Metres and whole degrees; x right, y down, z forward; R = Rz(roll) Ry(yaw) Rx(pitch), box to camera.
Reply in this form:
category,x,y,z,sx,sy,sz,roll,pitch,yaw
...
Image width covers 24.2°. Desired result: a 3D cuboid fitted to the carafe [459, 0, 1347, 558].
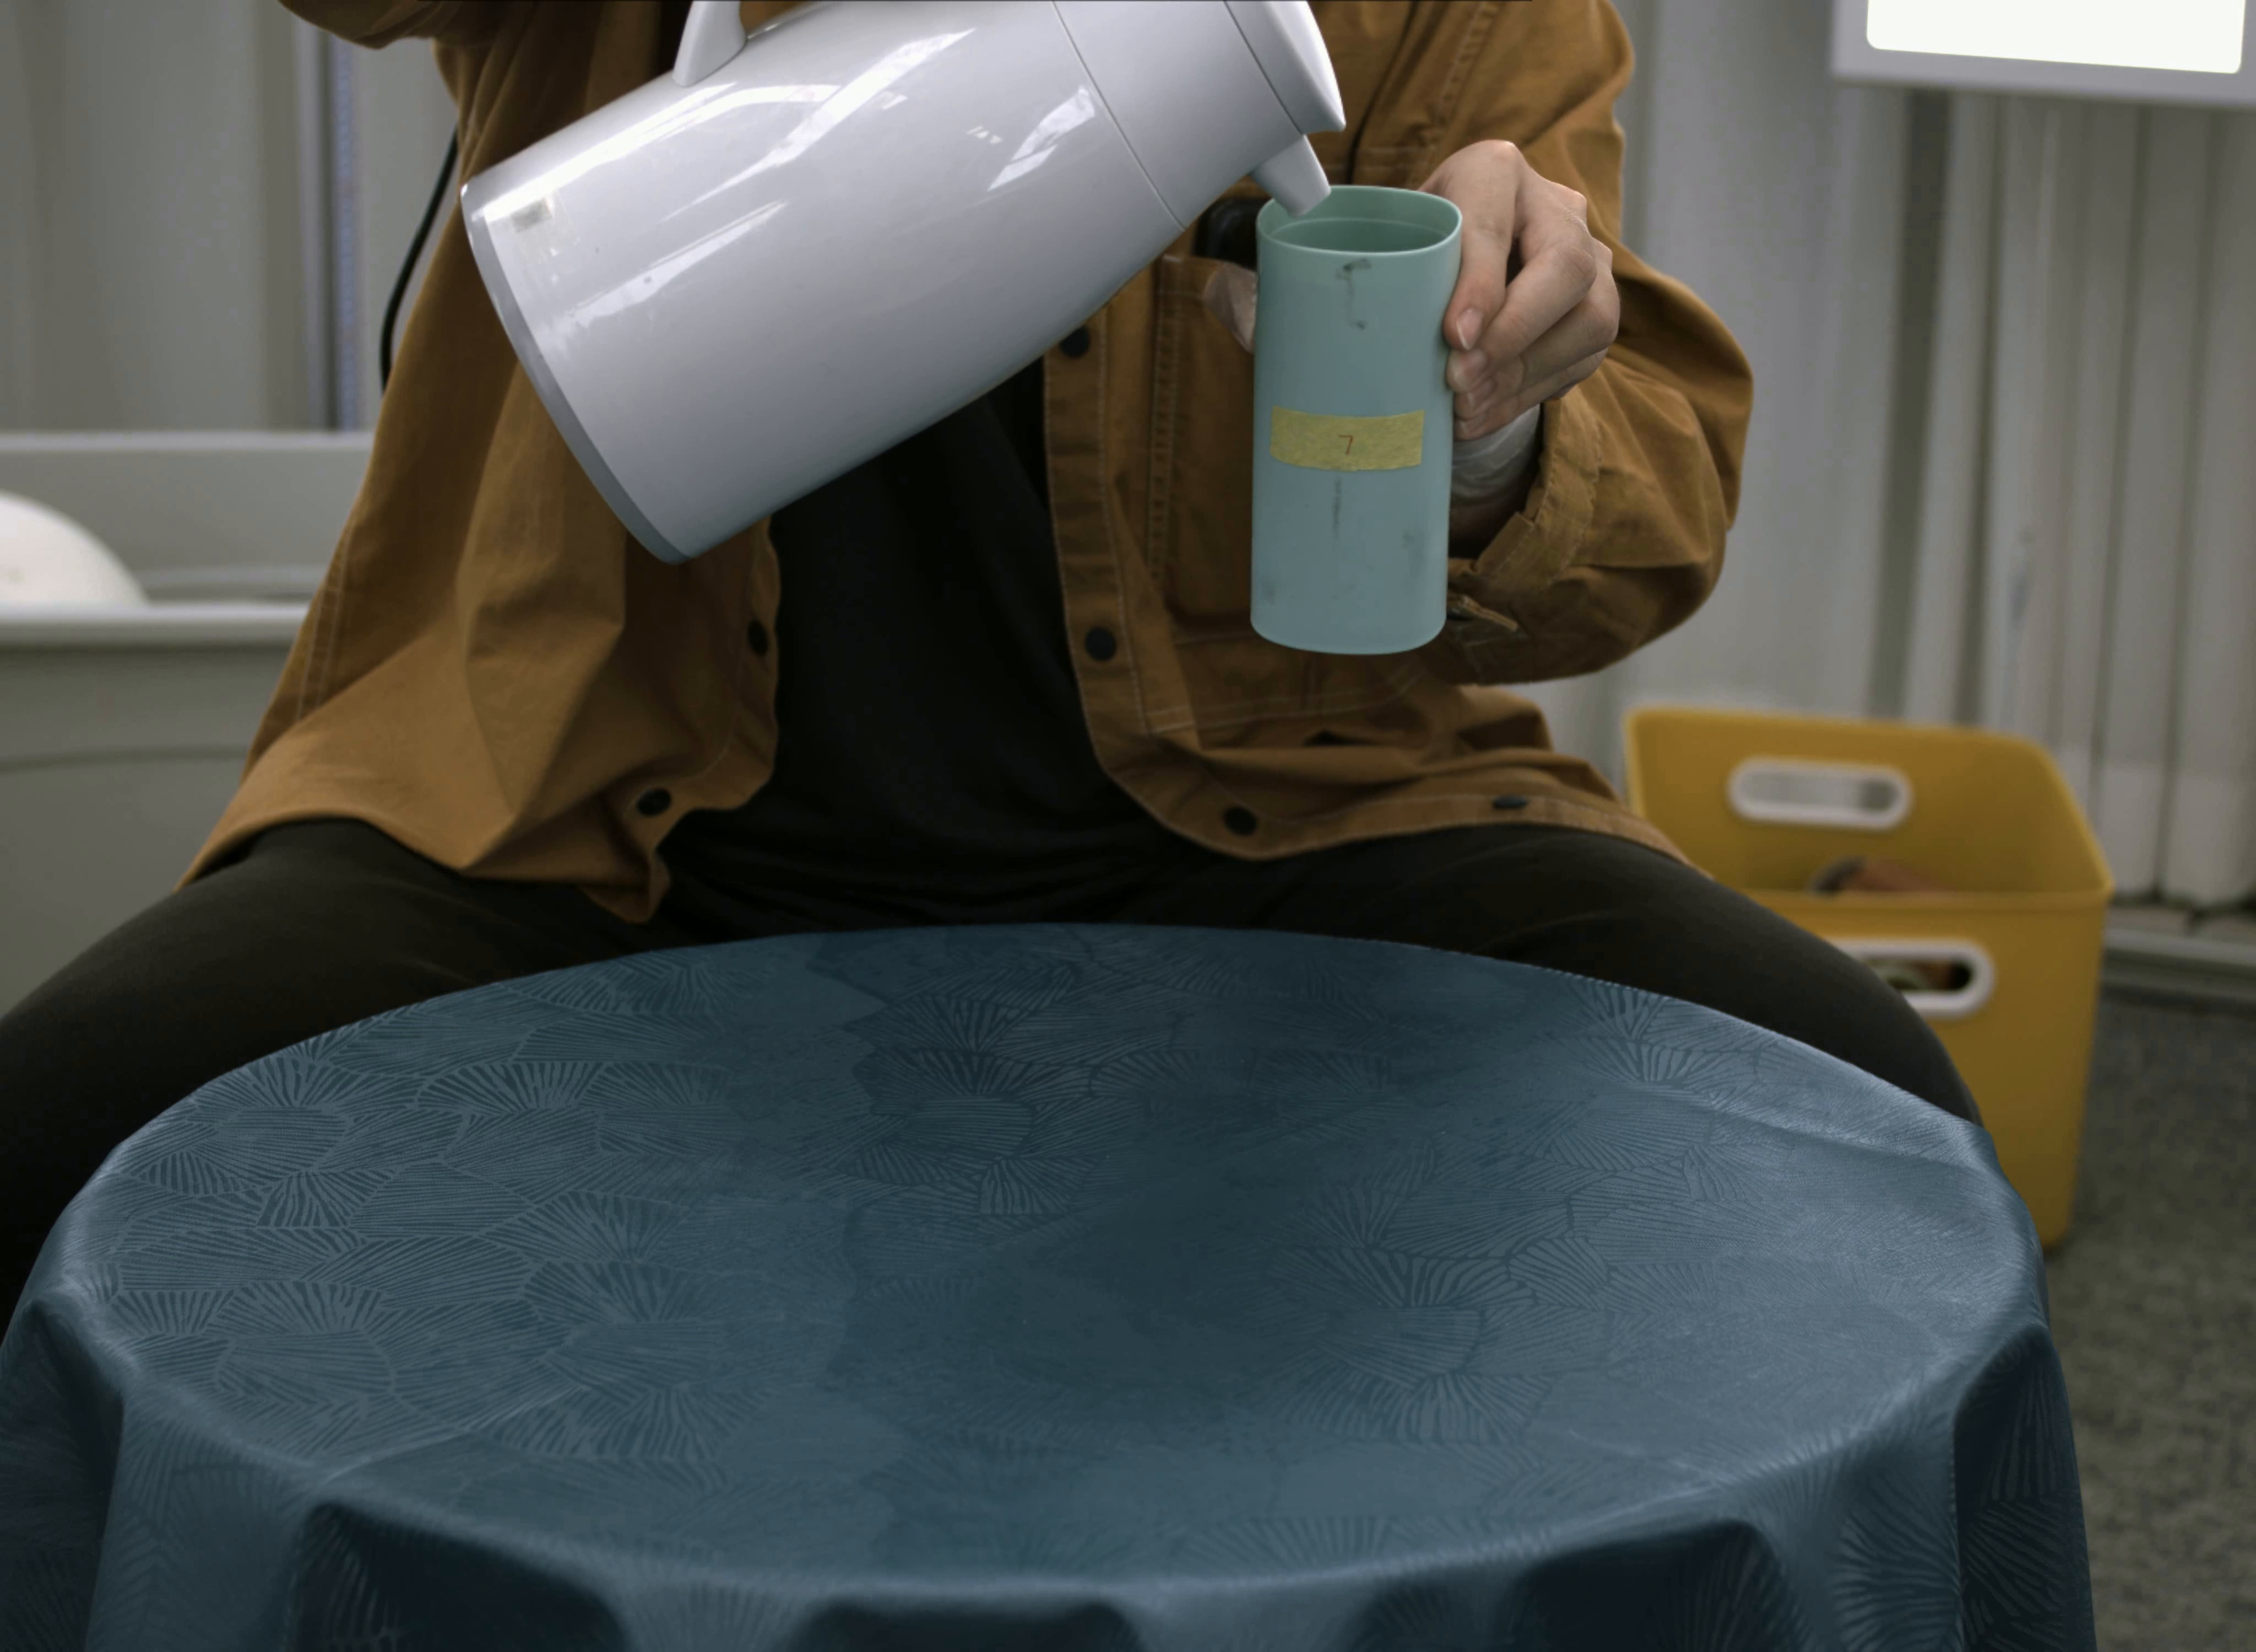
category,x,y,z,sx,sy,sz,roll,pitch,yaw
carafe,-0.068,-0.209,1.553,0.248,0.170,0.131,-28,25,8

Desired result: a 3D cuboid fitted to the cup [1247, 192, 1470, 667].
category,x,y,z,sx,sy,sz,roll,pitch,yaw
cup,0.070,-0.122,1.610,0.066,0.133,0.066,2,26,0
